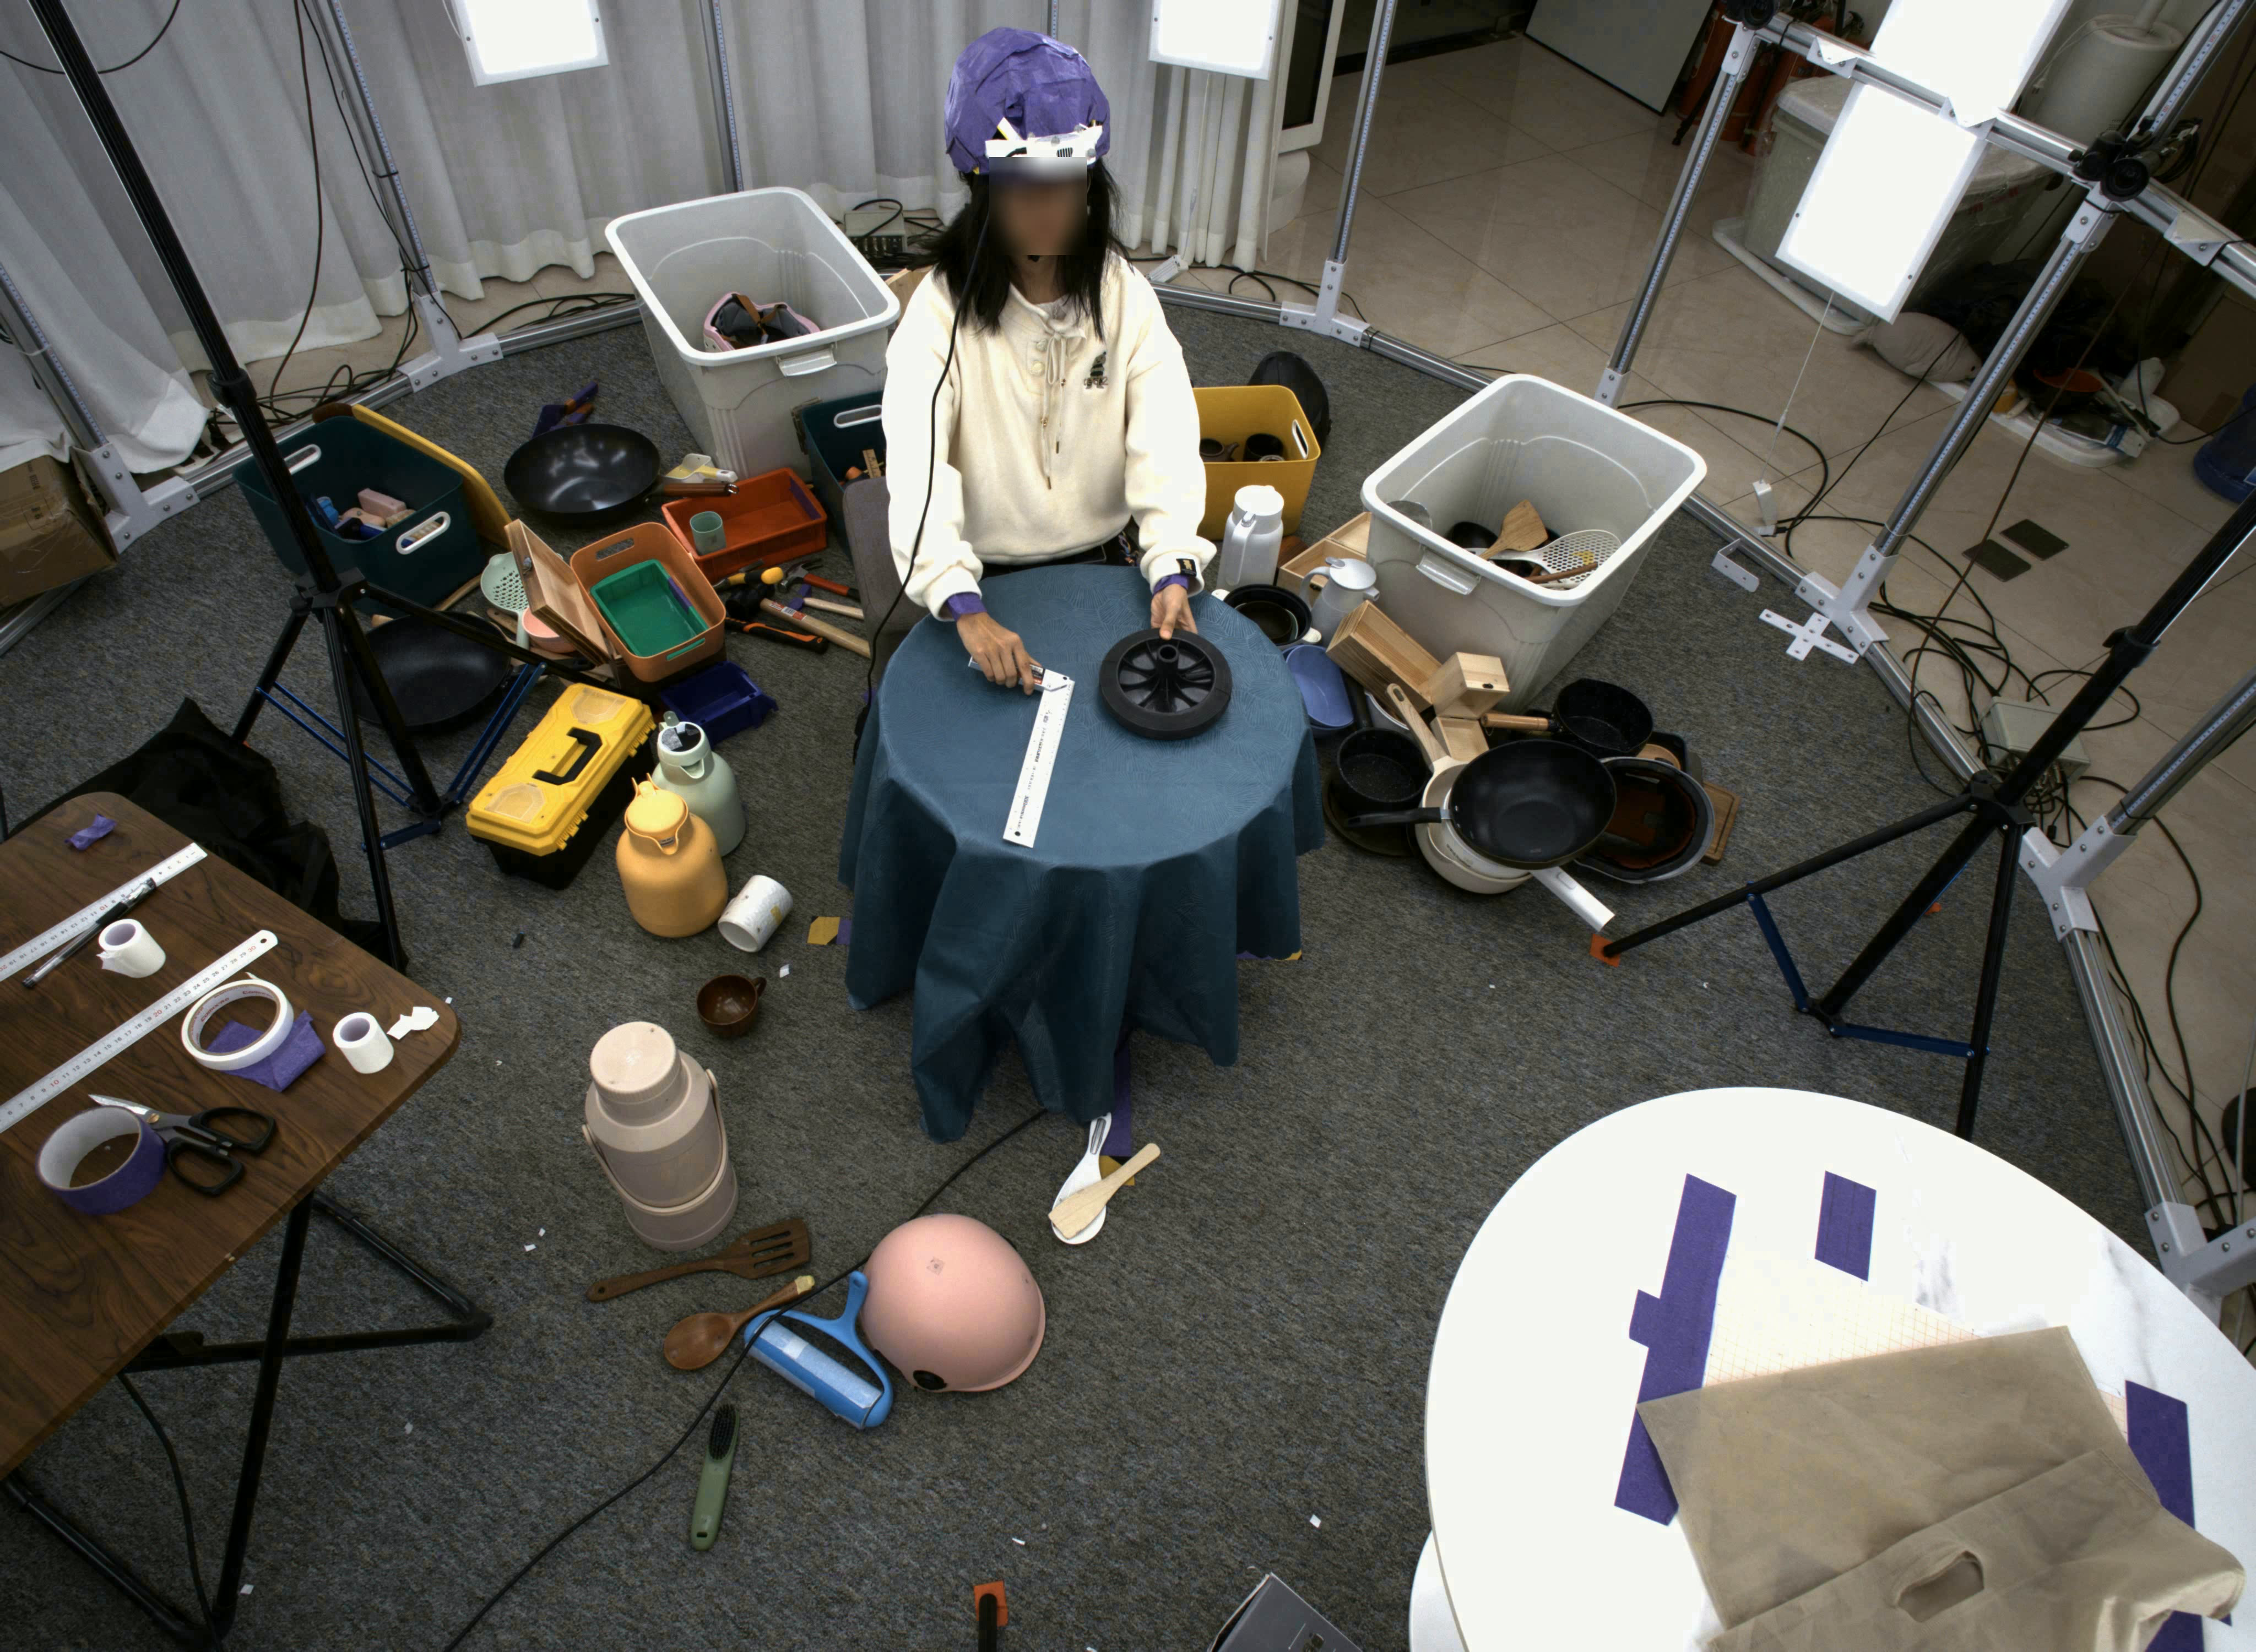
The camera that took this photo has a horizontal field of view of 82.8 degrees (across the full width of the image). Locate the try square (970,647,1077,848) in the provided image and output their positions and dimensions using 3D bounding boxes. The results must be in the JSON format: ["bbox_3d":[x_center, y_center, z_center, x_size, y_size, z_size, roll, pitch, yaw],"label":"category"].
[{"bbox_3d":[-0.168,-0.113,1.733,0.152,0.015,0.320,17,49,-6],"label":"try square"}]

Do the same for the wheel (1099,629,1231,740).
[{"bbox_3d":[0.054,-0.215,1.804,0.191,0.077,0.191,-30,62,-20],"label":"wheel"}]
